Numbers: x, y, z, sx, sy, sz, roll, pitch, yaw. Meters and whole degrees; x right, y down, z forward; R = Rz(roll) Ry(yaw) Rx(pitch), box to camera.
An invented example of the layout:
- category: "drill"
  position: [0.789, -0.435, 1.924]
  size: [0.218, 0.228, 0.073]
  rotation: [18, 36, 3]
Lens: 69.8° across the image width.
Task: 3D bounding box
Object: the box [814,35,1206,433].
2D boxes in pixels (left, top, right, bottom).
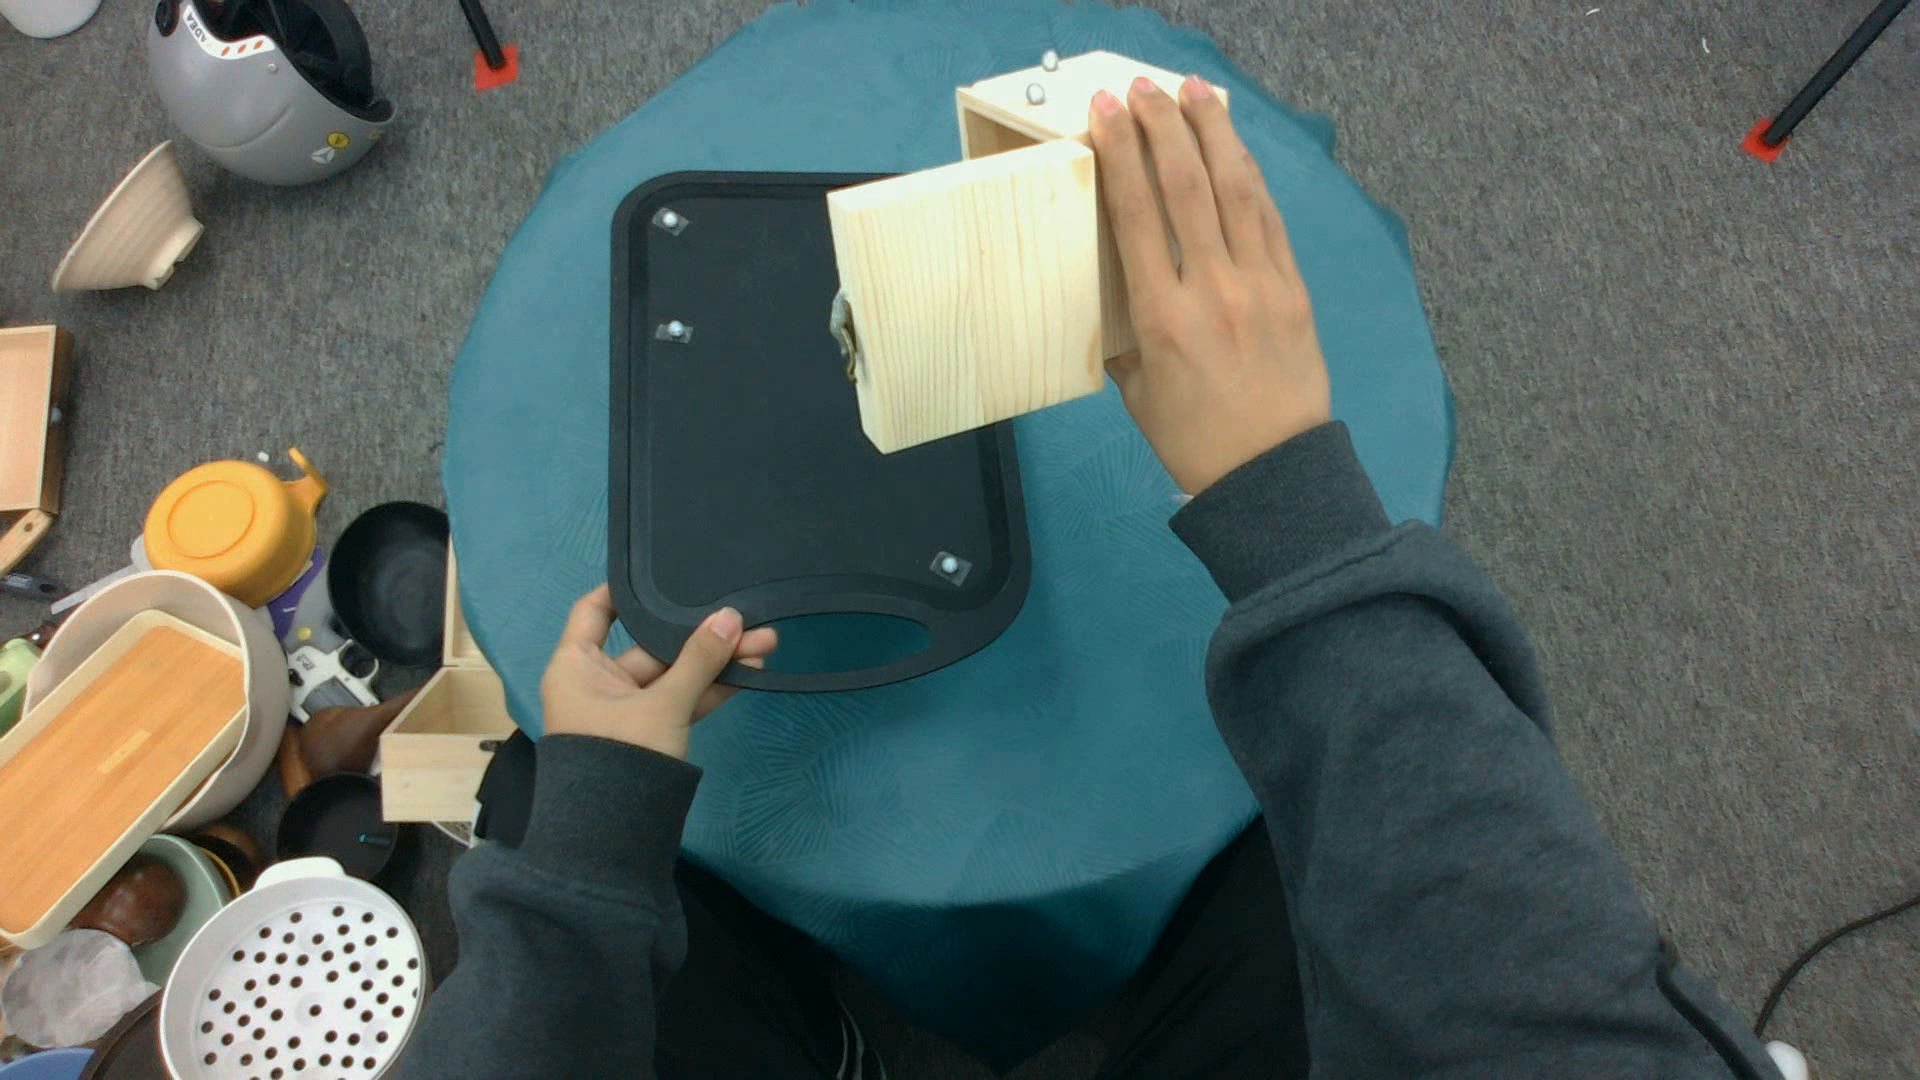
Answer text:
- category: "box"
  position: [0.008, -0.140, 0.595]
  size: [0.185, 0.102, 0.134]
  rotation: [-20, 36, -22]

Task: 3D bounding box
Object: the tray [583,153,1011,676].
- category: "tray"
  position: [-0.087, -0.081, 0.721]
  size: [0.211, 0.010, 0.326]
  rotation: [-2, 62, -10]
